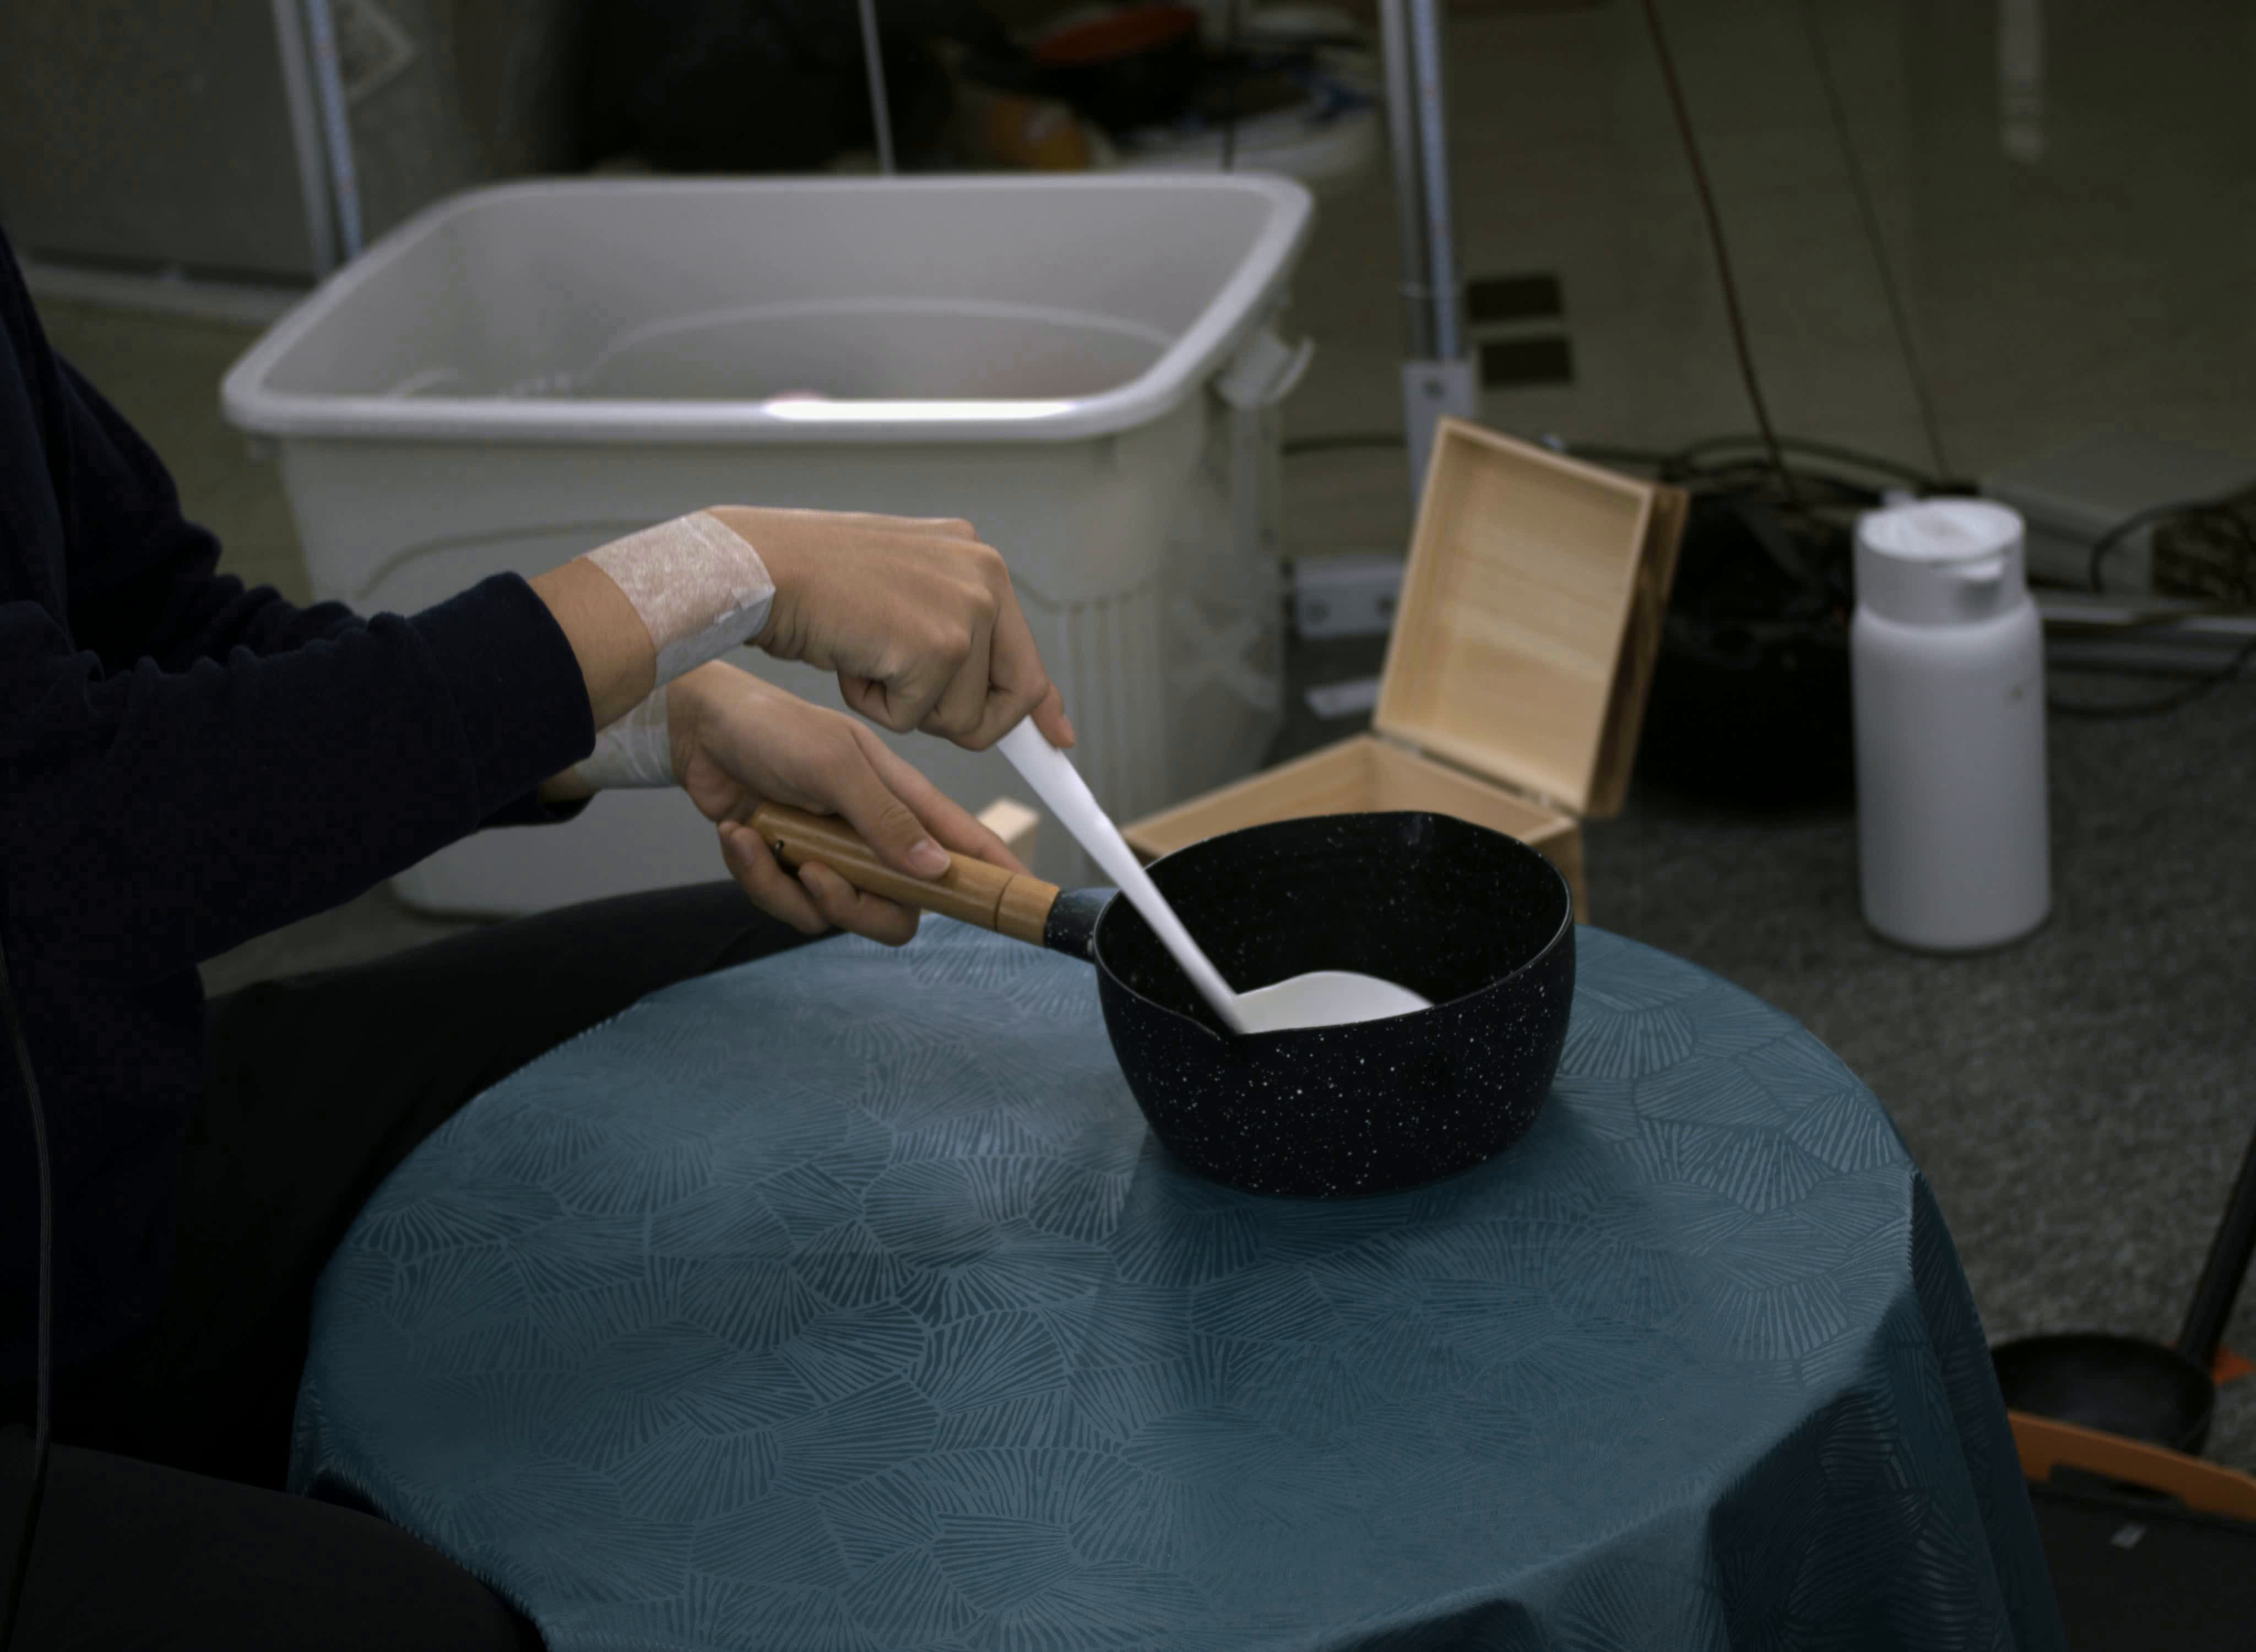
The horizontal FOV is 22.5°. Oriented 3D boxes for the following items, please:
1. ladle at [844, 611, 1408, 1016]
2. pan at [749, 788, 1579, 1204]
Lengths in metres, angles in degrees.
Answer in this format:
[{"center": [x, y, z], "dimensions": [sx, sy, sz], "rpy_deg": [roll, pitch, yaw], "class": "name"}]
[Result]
[{"center": [0.014, 0.017, 2.109], "dimensions": [0.070, 0.296, 0.088], "rpy_deg": [-32, 30, 22], "class": "ladle"}, {"center": [0.008, 0.054, 2.197], "dimensions": [0.341, 0.110, 0.205], "rpy_deg": [7, 29, 23], "class": "pan"}]
